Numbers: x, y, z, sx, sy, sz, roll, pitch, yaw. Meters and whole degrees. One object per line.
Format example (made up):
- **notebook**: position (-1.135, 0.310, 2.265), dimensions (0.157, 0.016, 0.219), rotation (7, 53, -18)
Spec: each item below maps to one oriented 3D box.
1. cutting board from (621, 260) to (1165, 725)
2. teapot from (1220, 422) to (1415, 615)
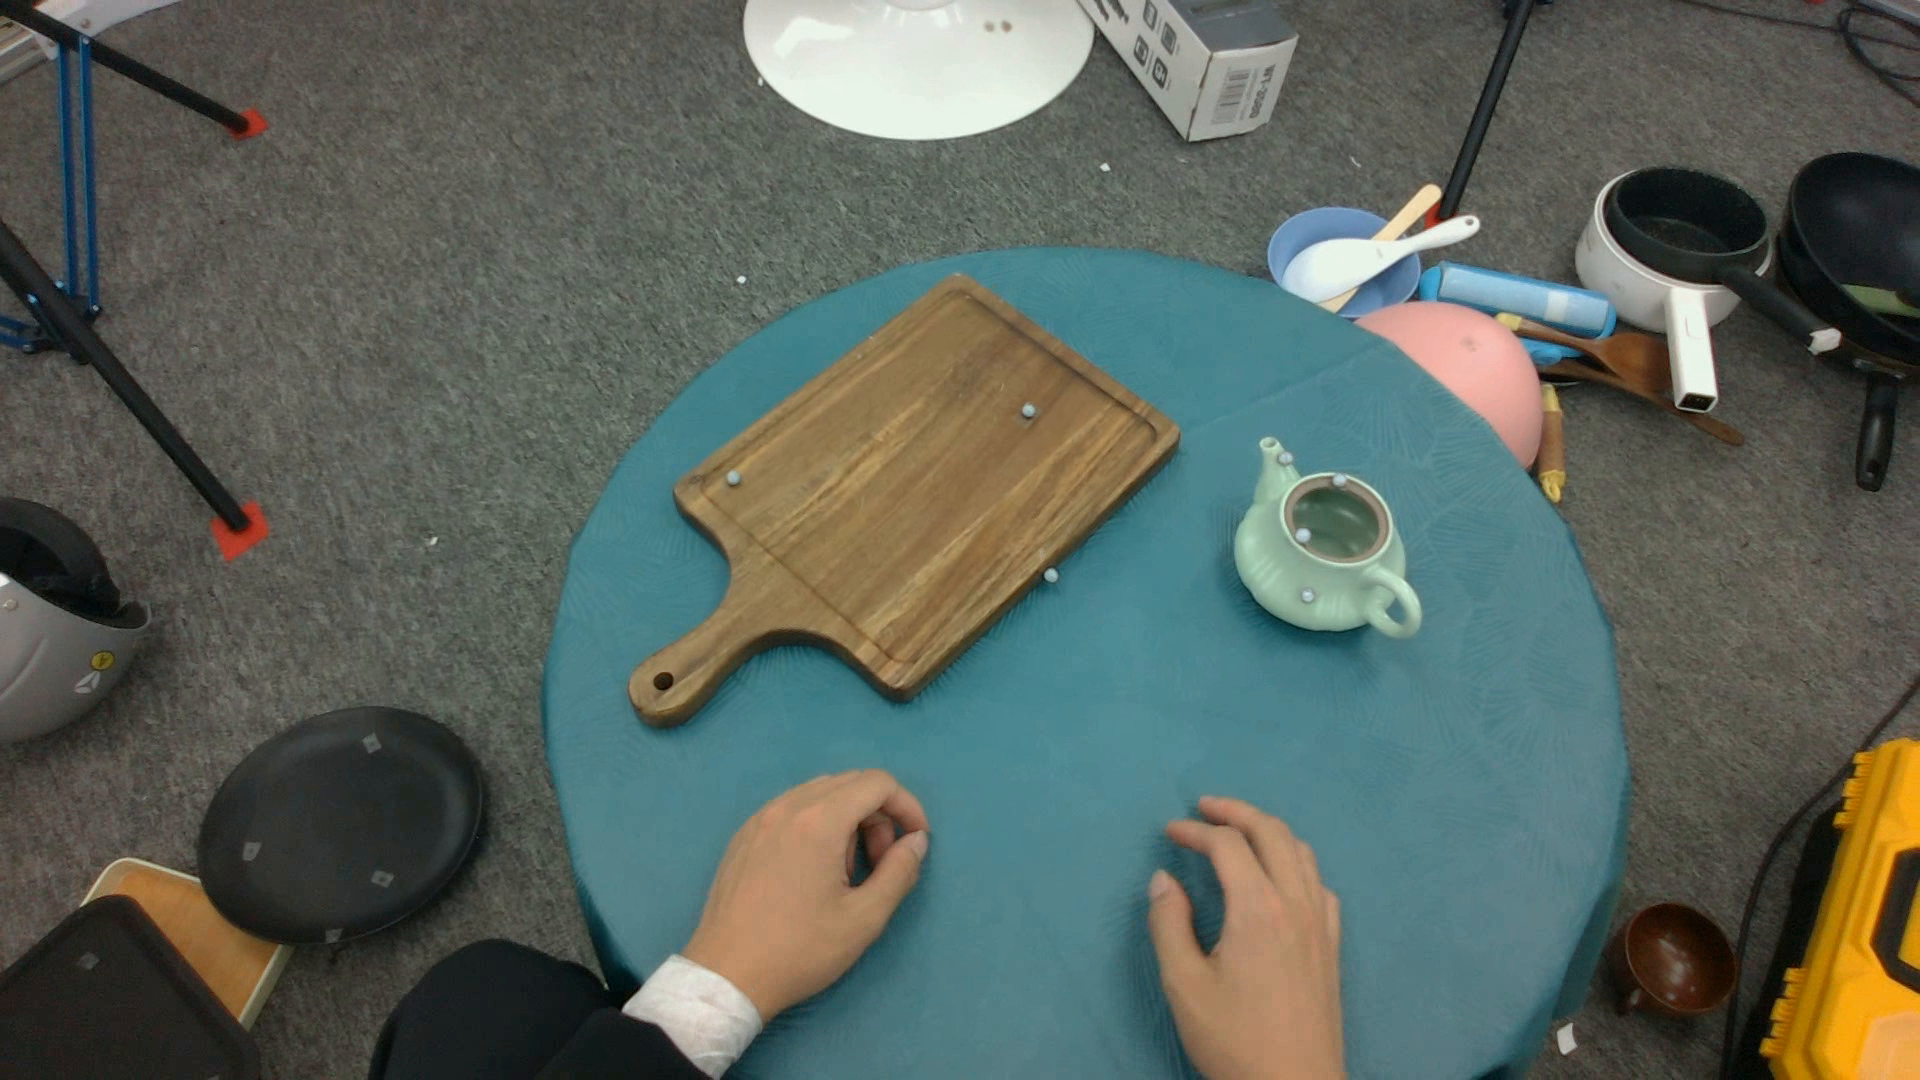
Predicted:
- **cutting board**: position (-0.059, -0.021, 0.805), dimensions (0.201, 0.023, 0.353), rotation (37, 63, 20)
- **teapot**: position (0.201, -0.005, 0.779), dimensions (0.096, 0.061, 0.137), rotation (-29, 62, -20)
